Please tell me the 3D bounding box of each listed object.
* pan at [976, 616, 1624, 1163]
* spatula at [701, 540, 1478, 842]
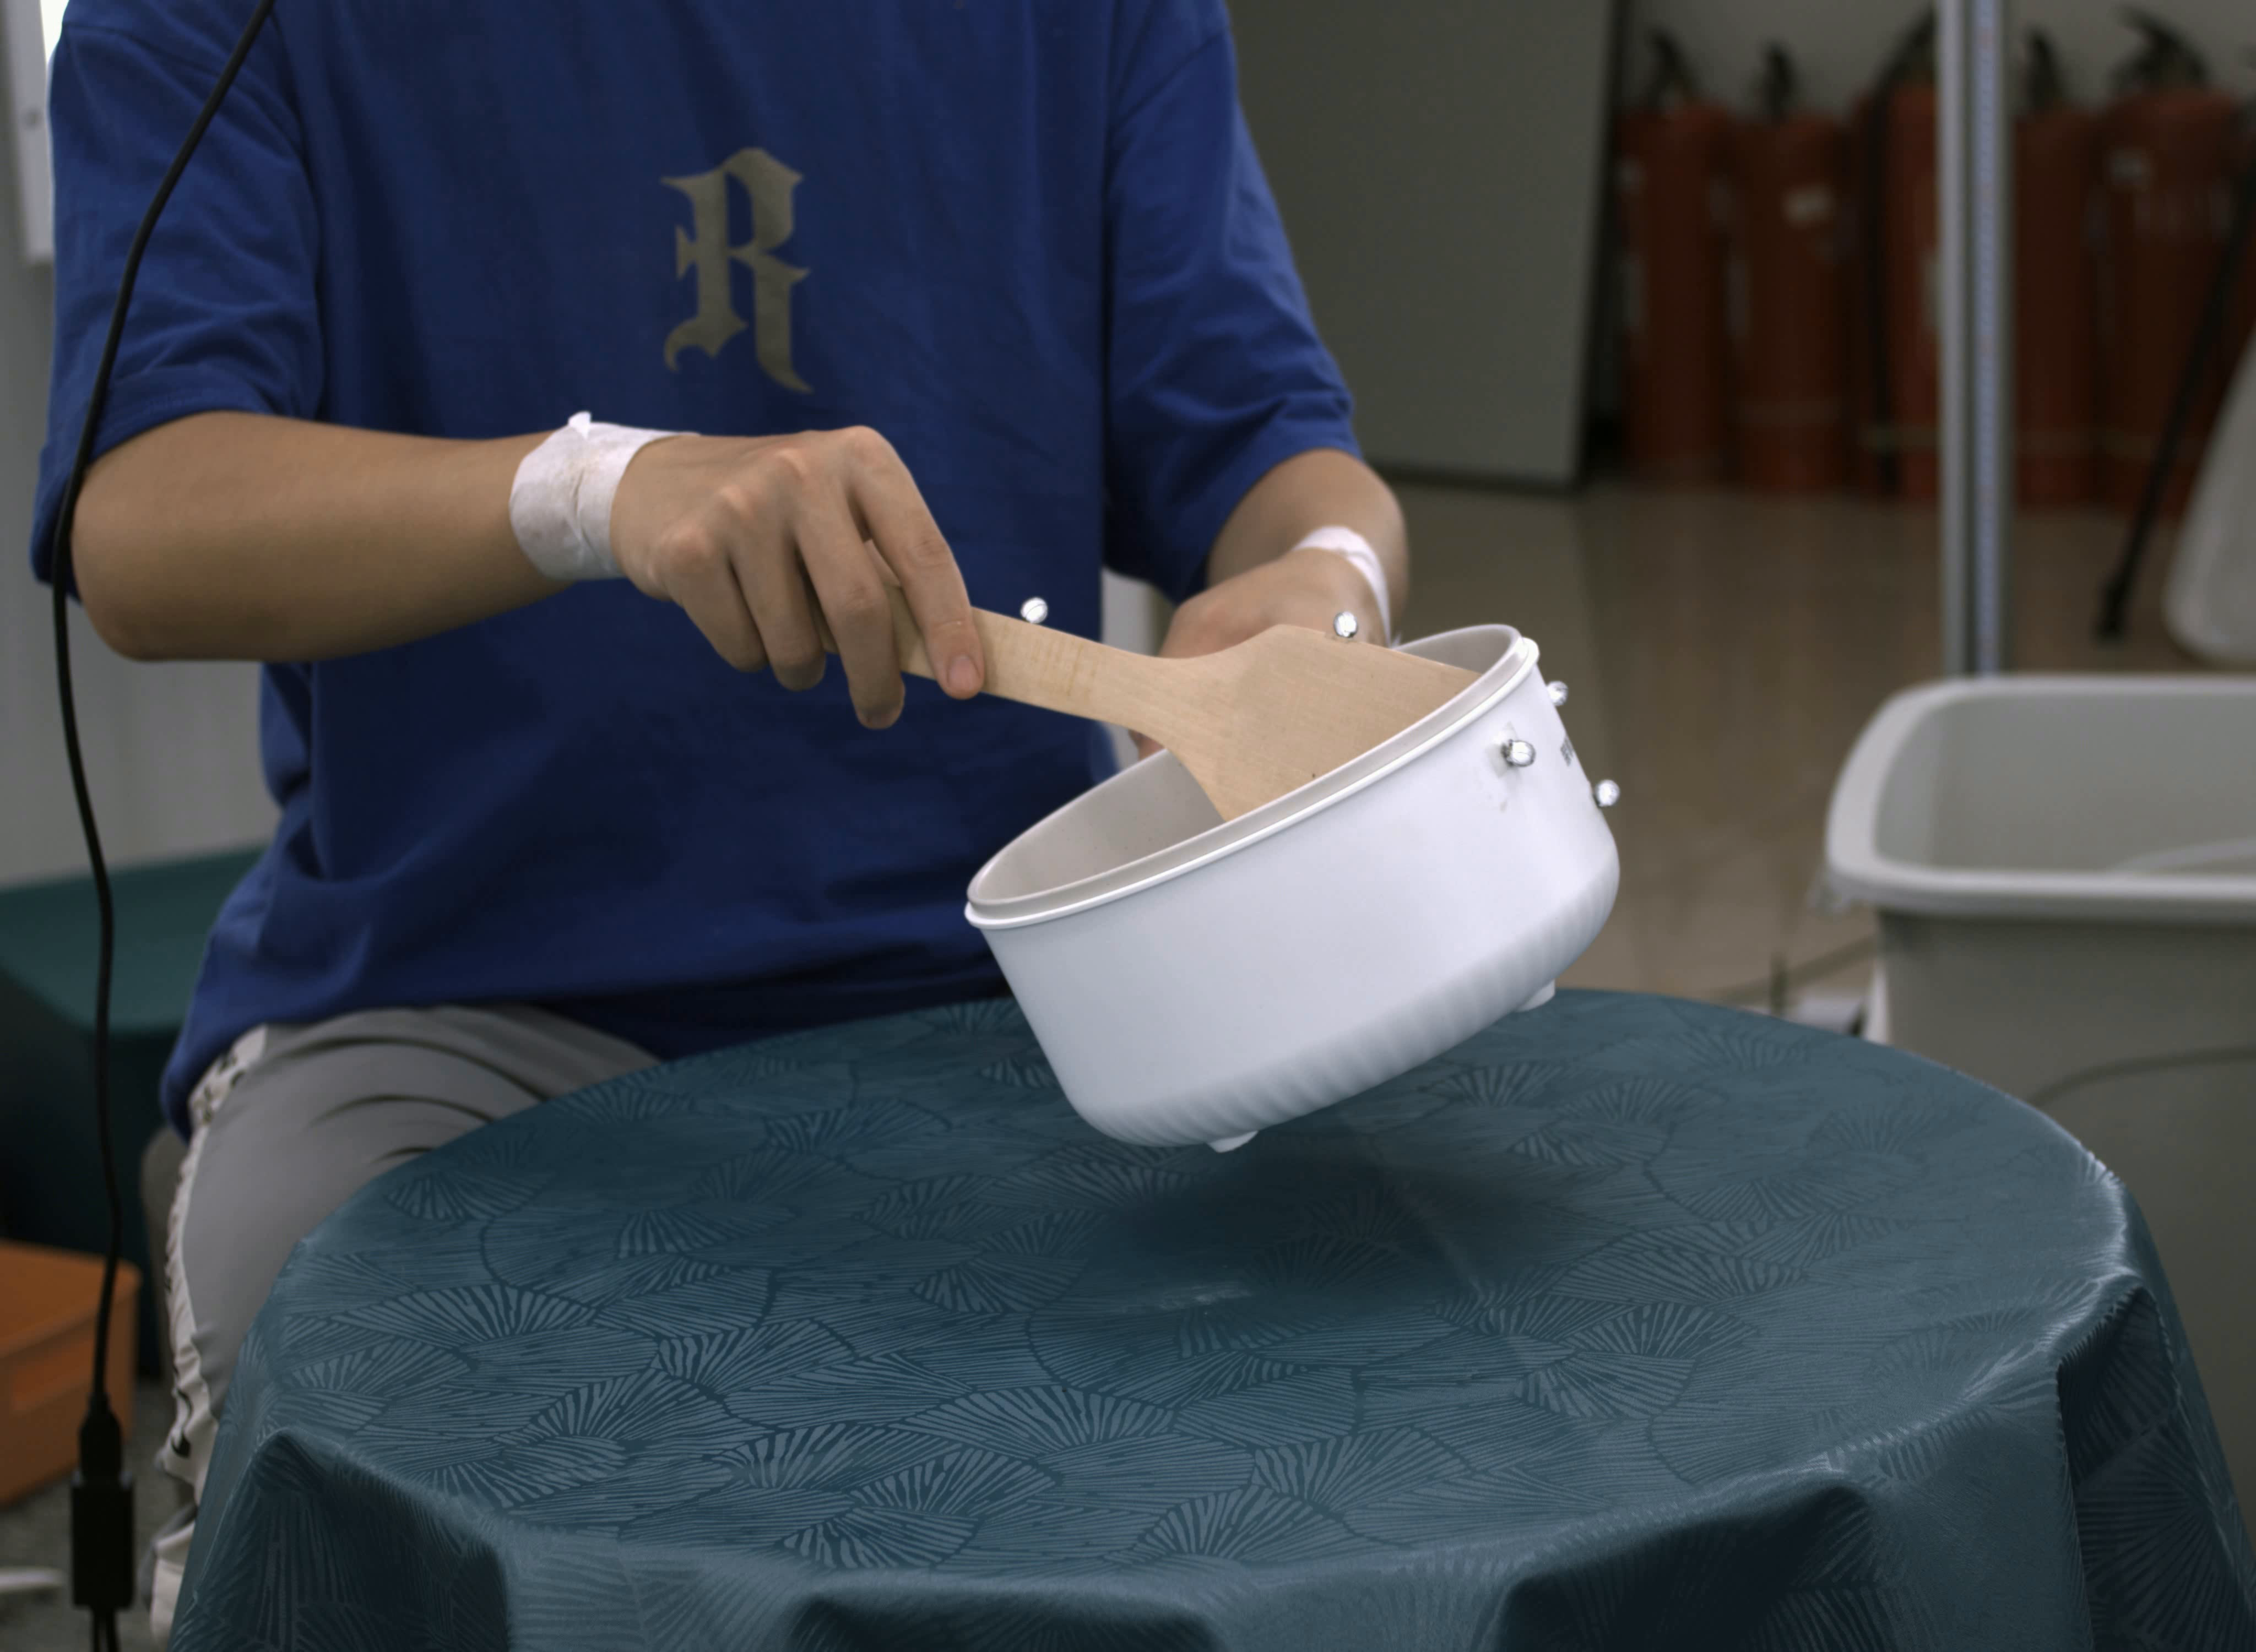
[{"bbox_3d":[0.057,0.013,1.786,0.200,0.102,0.355,-28,9,3],"label":"pan"},{"bbox_3d":[-0.017,-0.051,1.750,0.294,0.073,0.010,15,3,28],"label":"spatula"}]
